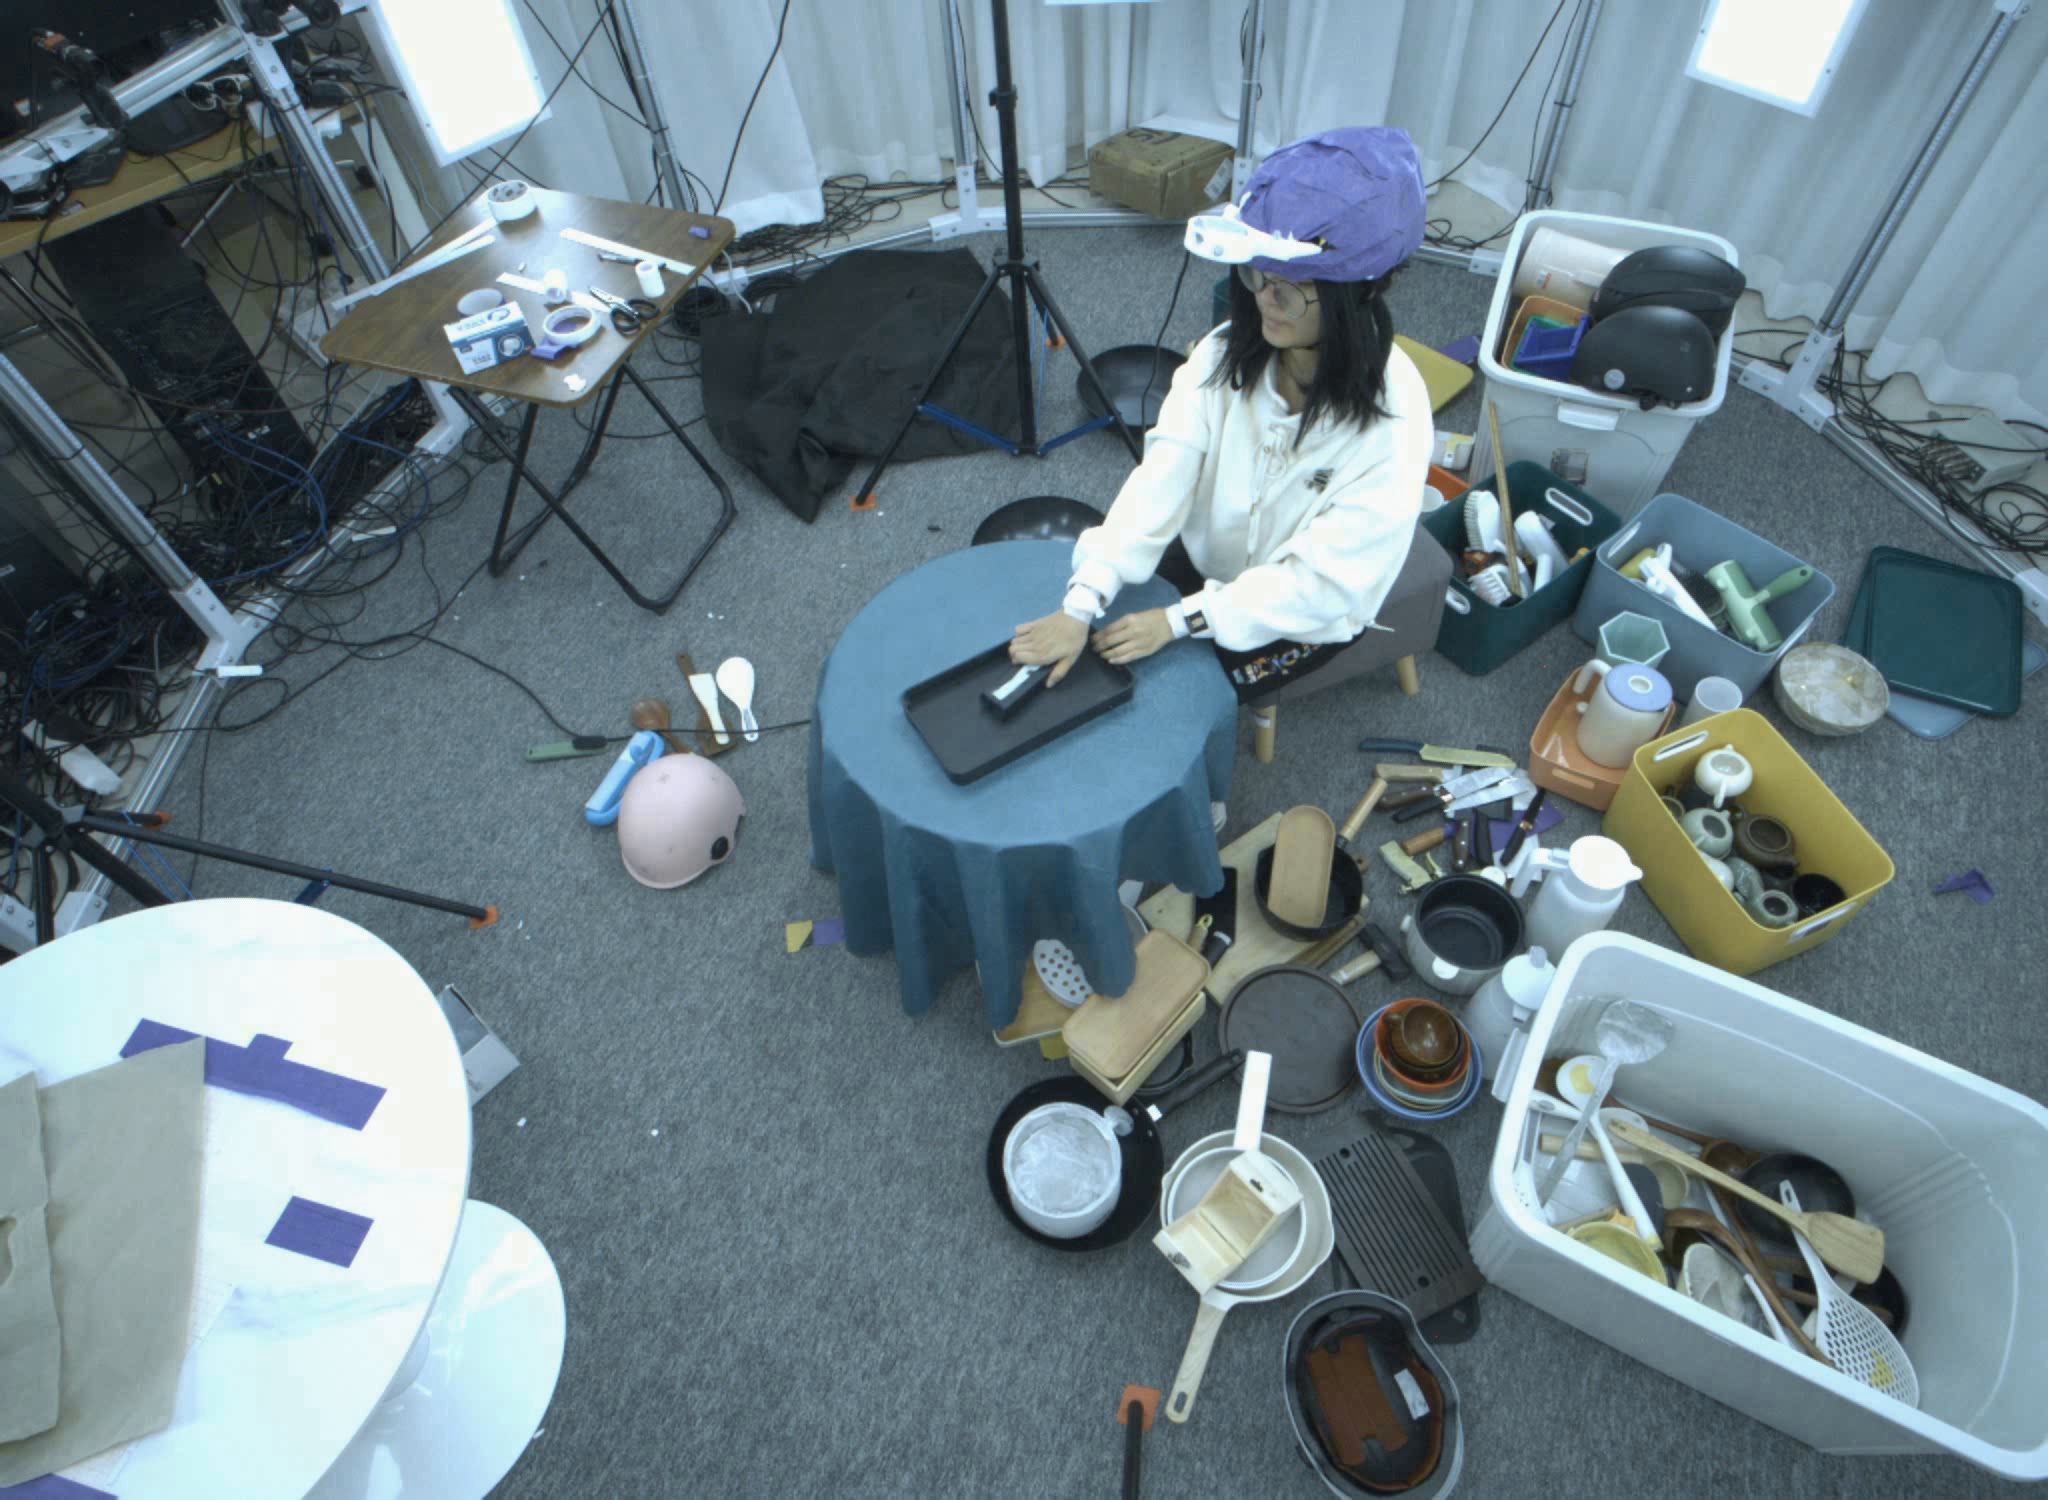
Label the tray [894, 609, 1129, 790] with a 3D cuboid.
[{"bbox_3d":[-0.017,-0.079,1.821,0.320,0.037,0.181,-31,59,-18],"label":"tray"}]

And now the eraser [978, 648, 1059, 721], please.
[{"bbox_3d":[-0.008,-0.098,1.836,0.053,0.031,0.126,39,64,21],"label":"eraser"}]
